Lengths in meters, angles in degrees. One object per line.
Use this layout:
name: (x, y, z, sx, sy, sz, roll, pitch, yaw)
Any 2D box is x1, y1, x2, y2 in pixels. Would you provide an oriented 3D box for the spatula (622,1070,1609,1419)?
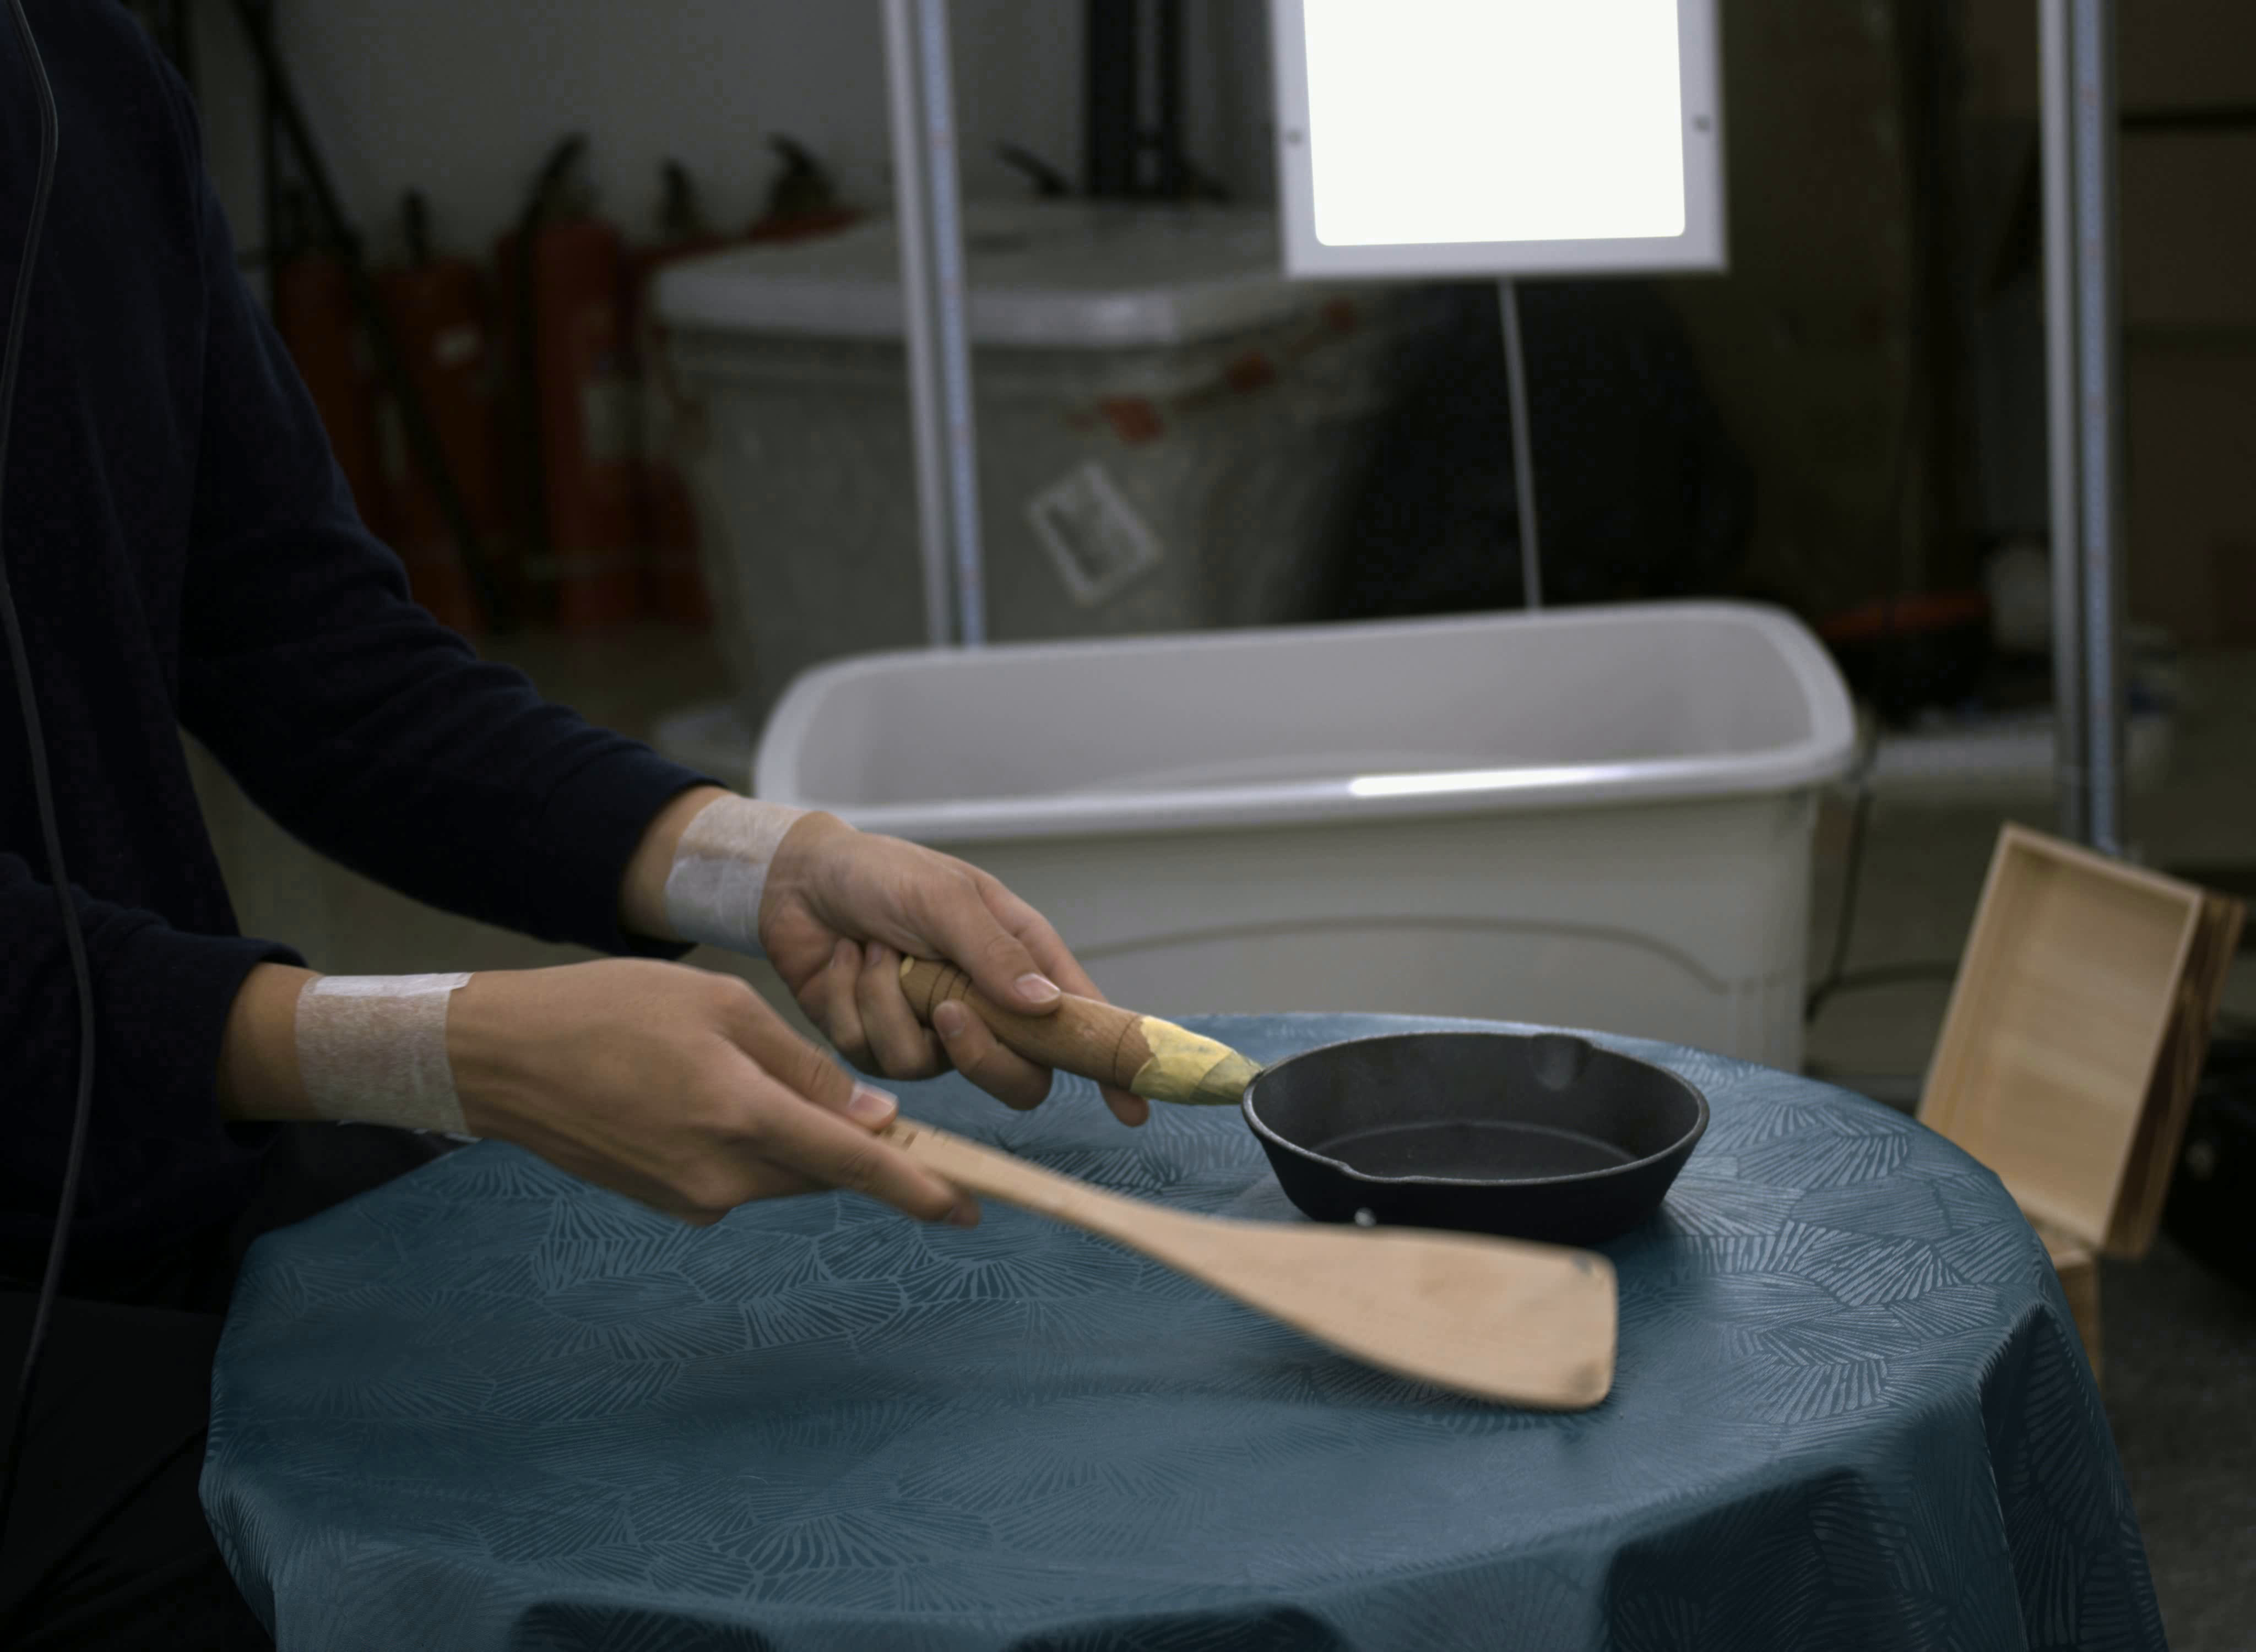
spatula: (-0.004, 0.123, 1.711, 0.330, 0.016, 0.078, 16, 28, 13)

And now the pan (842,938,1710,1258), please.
pan: (0.043, 0.088, 1.884, 0.330, 0.050, 0.165, 10, 20, 30)
